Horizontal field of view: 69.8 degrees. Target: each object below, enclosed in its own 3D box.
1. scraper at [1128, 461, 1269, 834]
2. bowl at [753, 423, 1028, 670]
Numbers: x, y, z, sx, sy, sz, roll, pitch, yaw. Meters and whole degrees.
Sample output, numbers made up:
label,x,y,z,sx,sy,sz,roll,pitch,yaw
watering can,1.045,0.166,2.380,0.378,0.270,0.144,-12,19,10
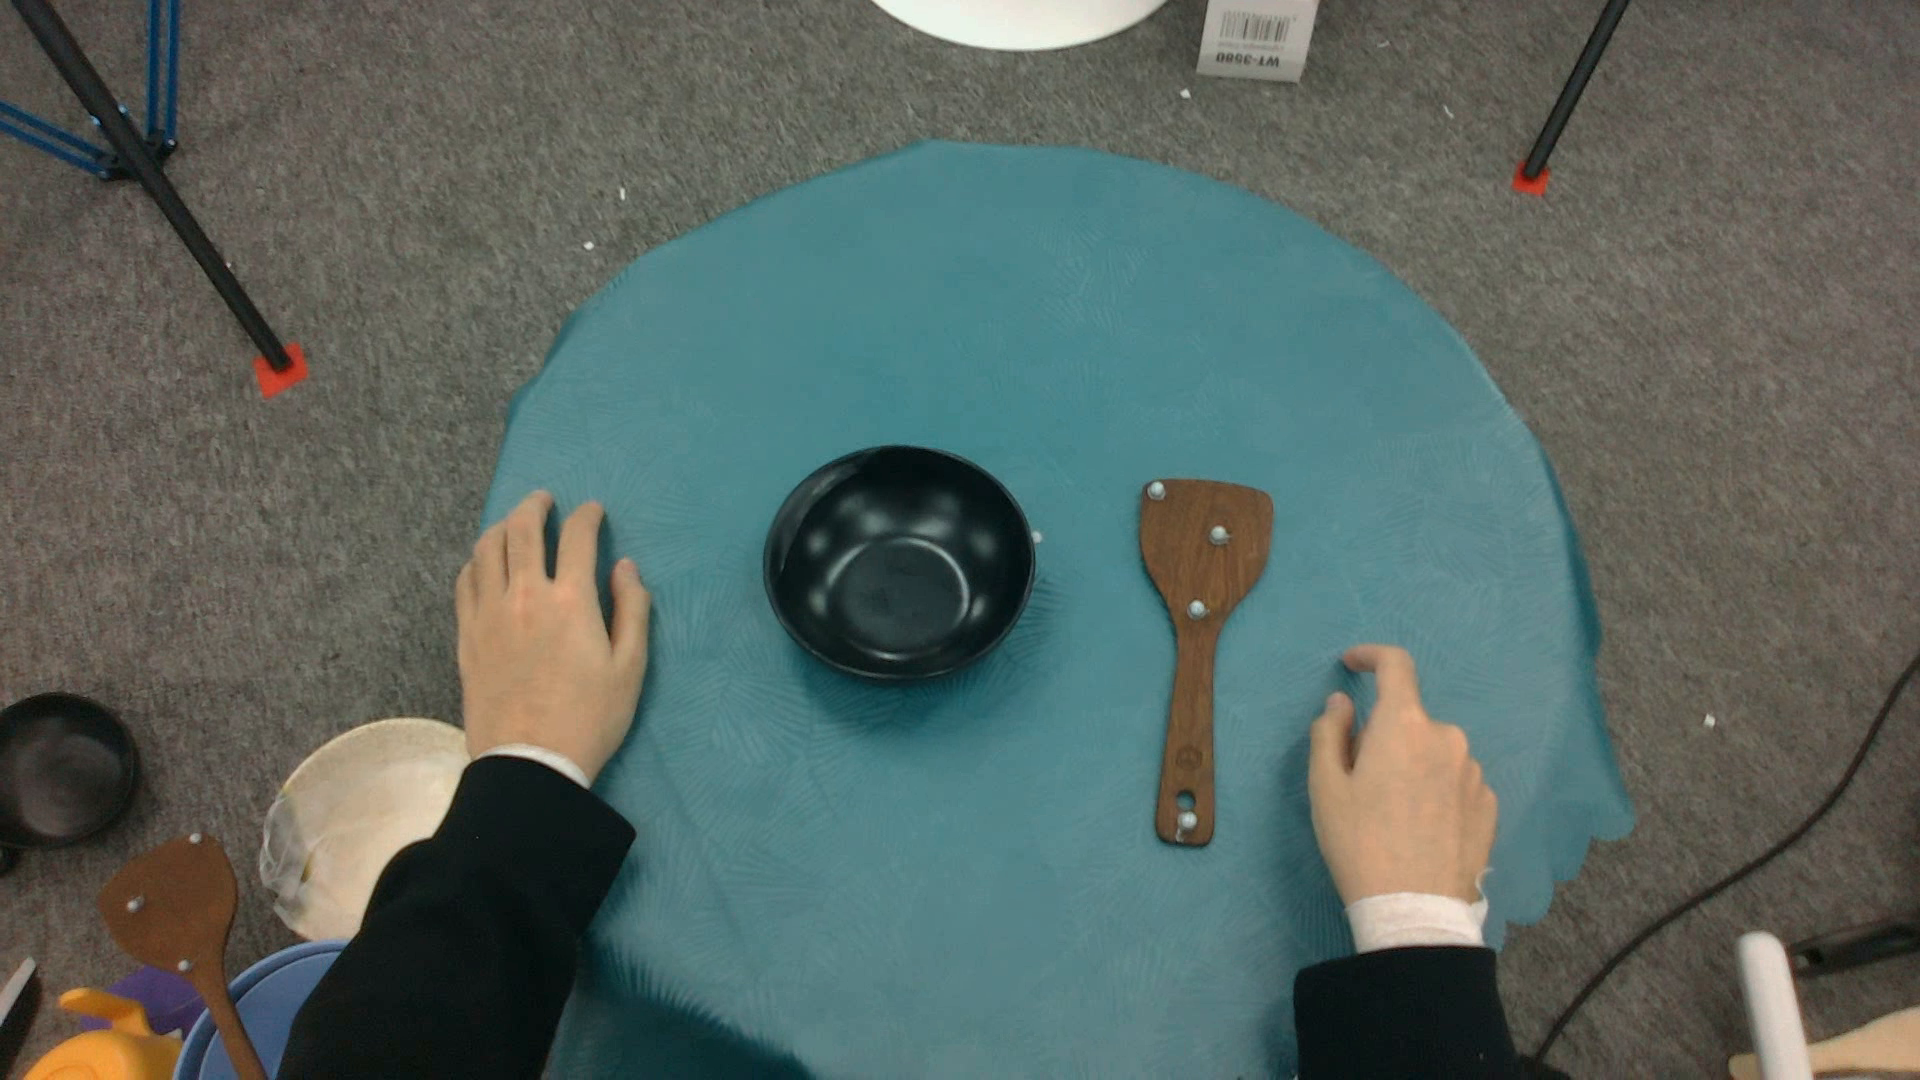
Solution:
label,x,y,z,sx,sy,sz,roll,pitch,yaw
scraper,0.119,0.050,0.716,0.076,0.011,0.212,7,61,4
bowl,-0.036,0.010,0.712,0.140,0.049,0.140,2,60,-3
